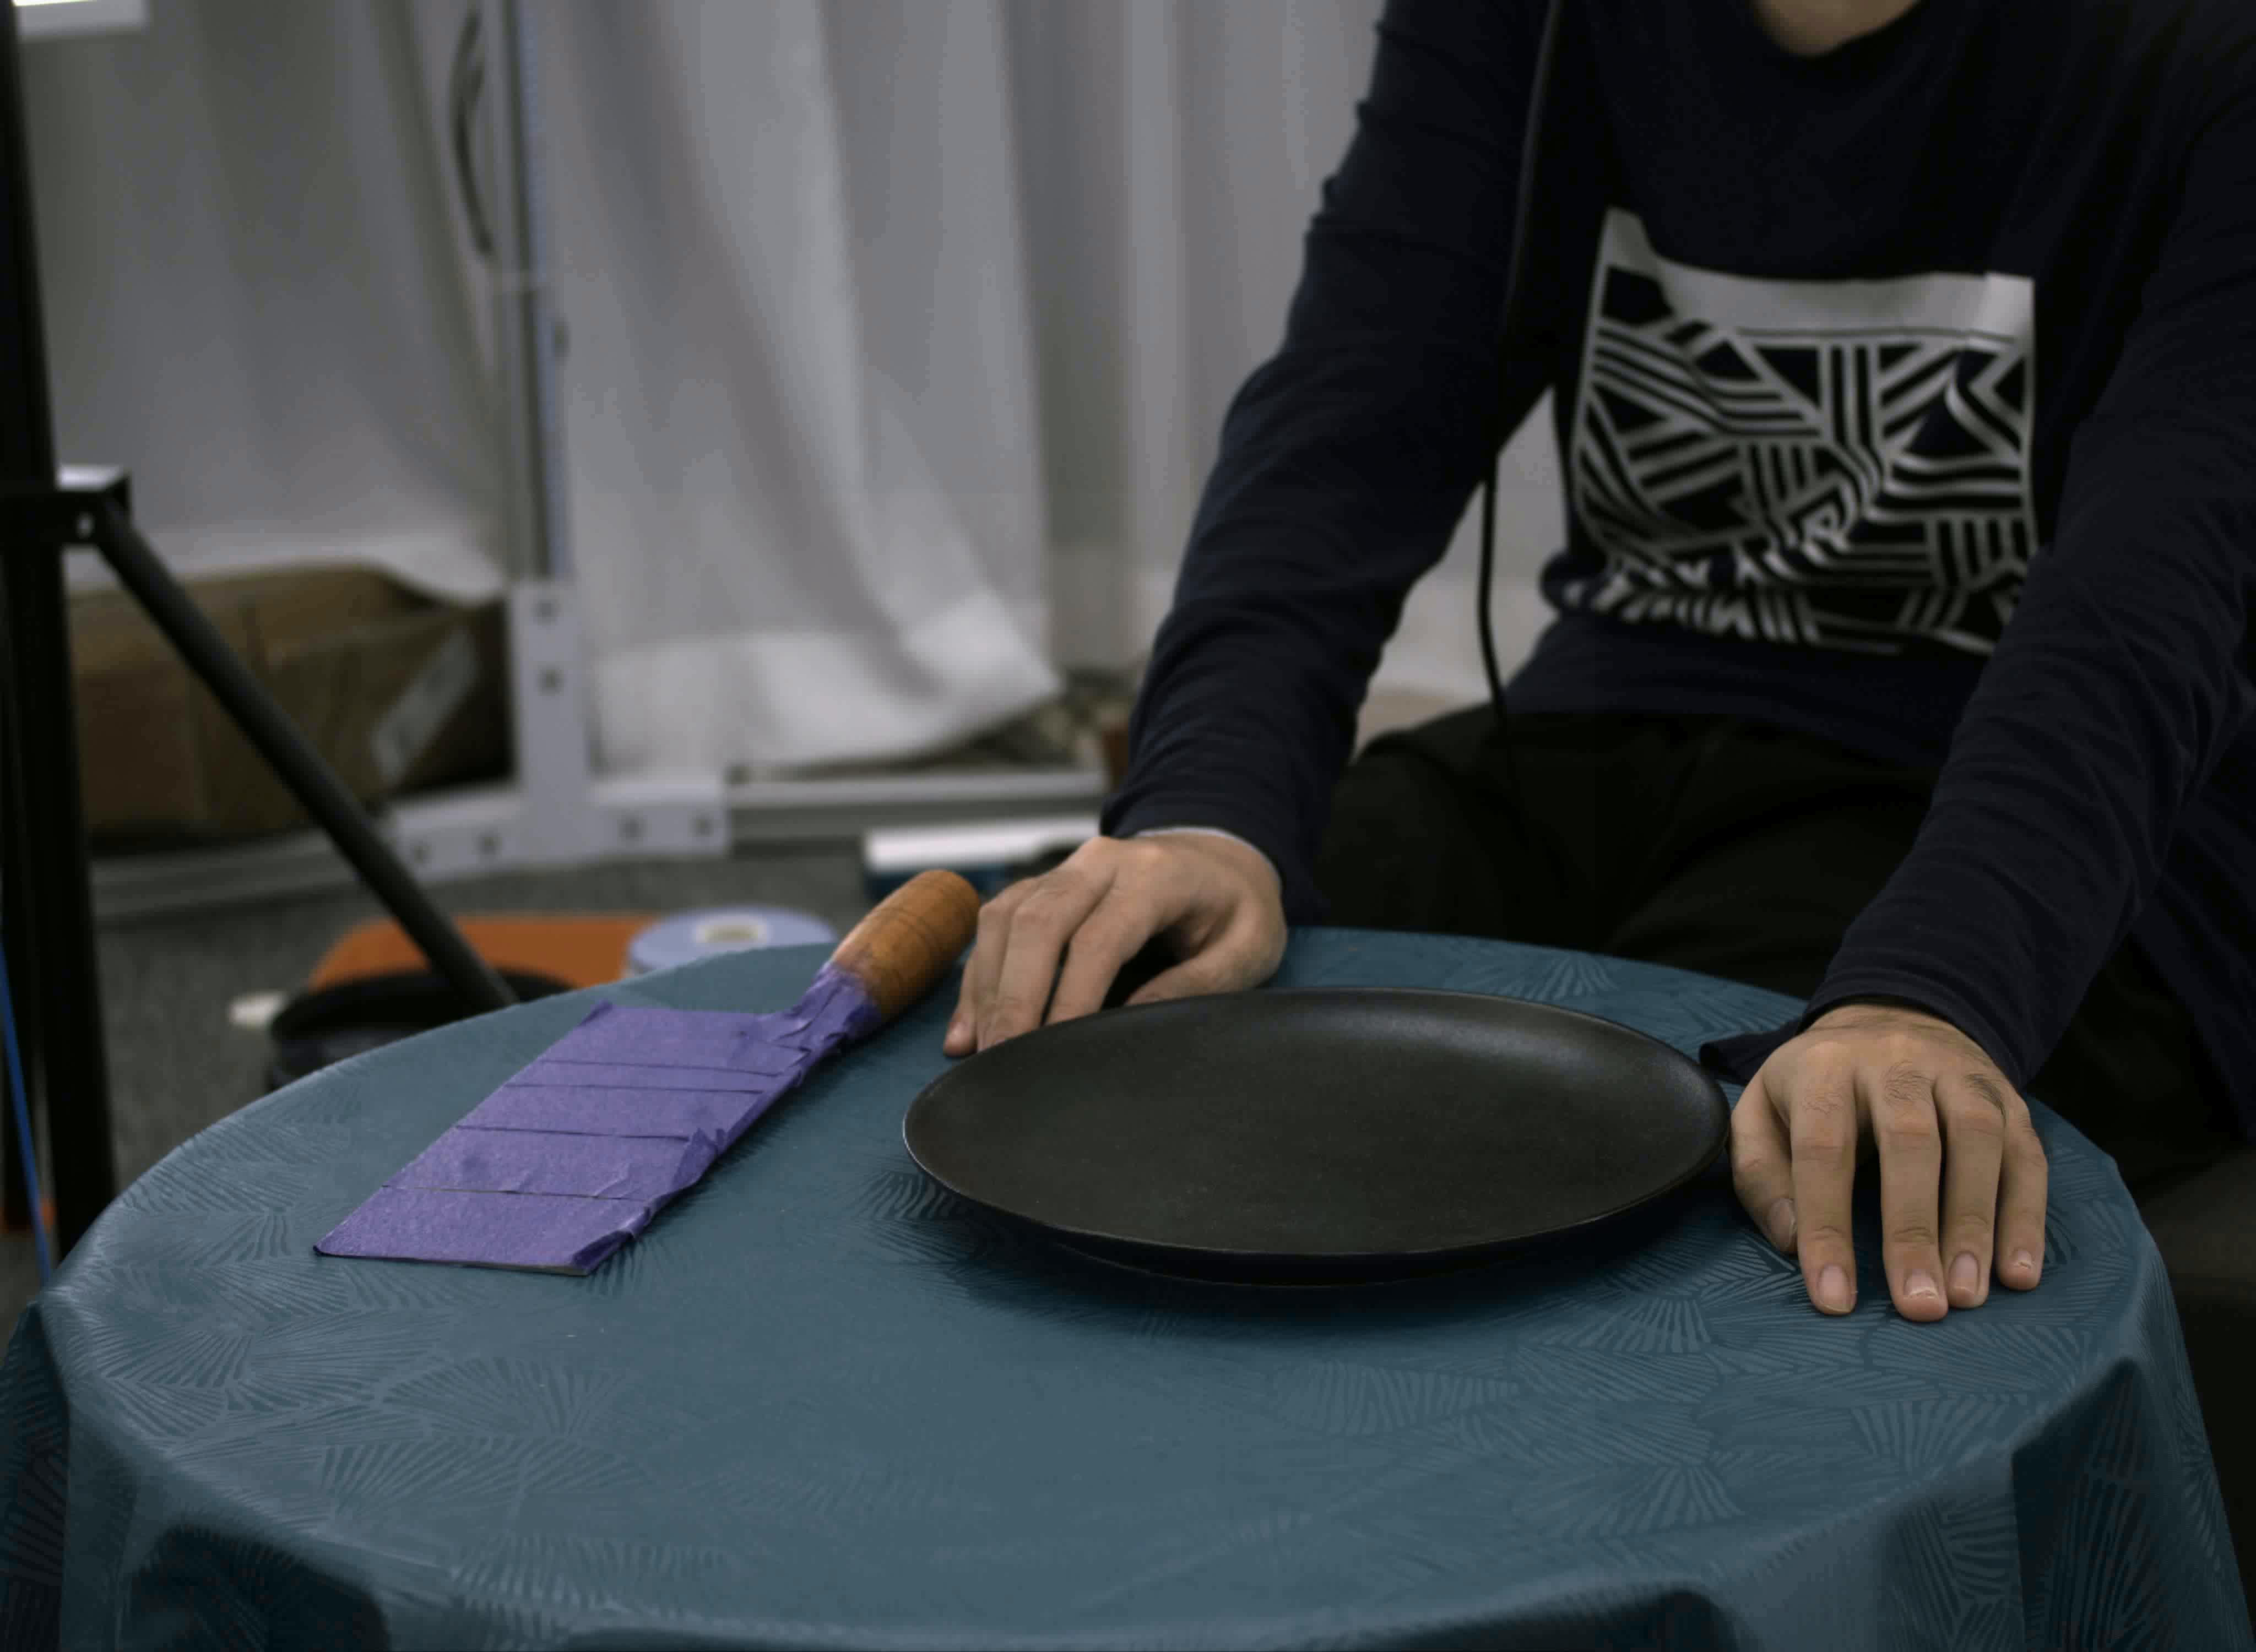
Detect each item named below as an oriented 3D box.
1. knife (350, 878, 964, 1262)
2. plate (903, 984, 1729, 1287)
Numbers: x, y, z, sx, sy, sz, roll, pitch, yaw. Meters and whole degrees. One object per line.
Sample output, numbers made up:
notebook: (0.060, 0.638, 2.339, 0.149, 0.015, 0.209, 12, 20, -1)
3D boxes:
knife: (-0.143, 0.072, 1.661, 0.105, 0.032, 0.312, 3, 17, 18)
plate: (0.055, 0.094, 1.563, 0.243, 0.023, 0.245, -3, 16, -1)
